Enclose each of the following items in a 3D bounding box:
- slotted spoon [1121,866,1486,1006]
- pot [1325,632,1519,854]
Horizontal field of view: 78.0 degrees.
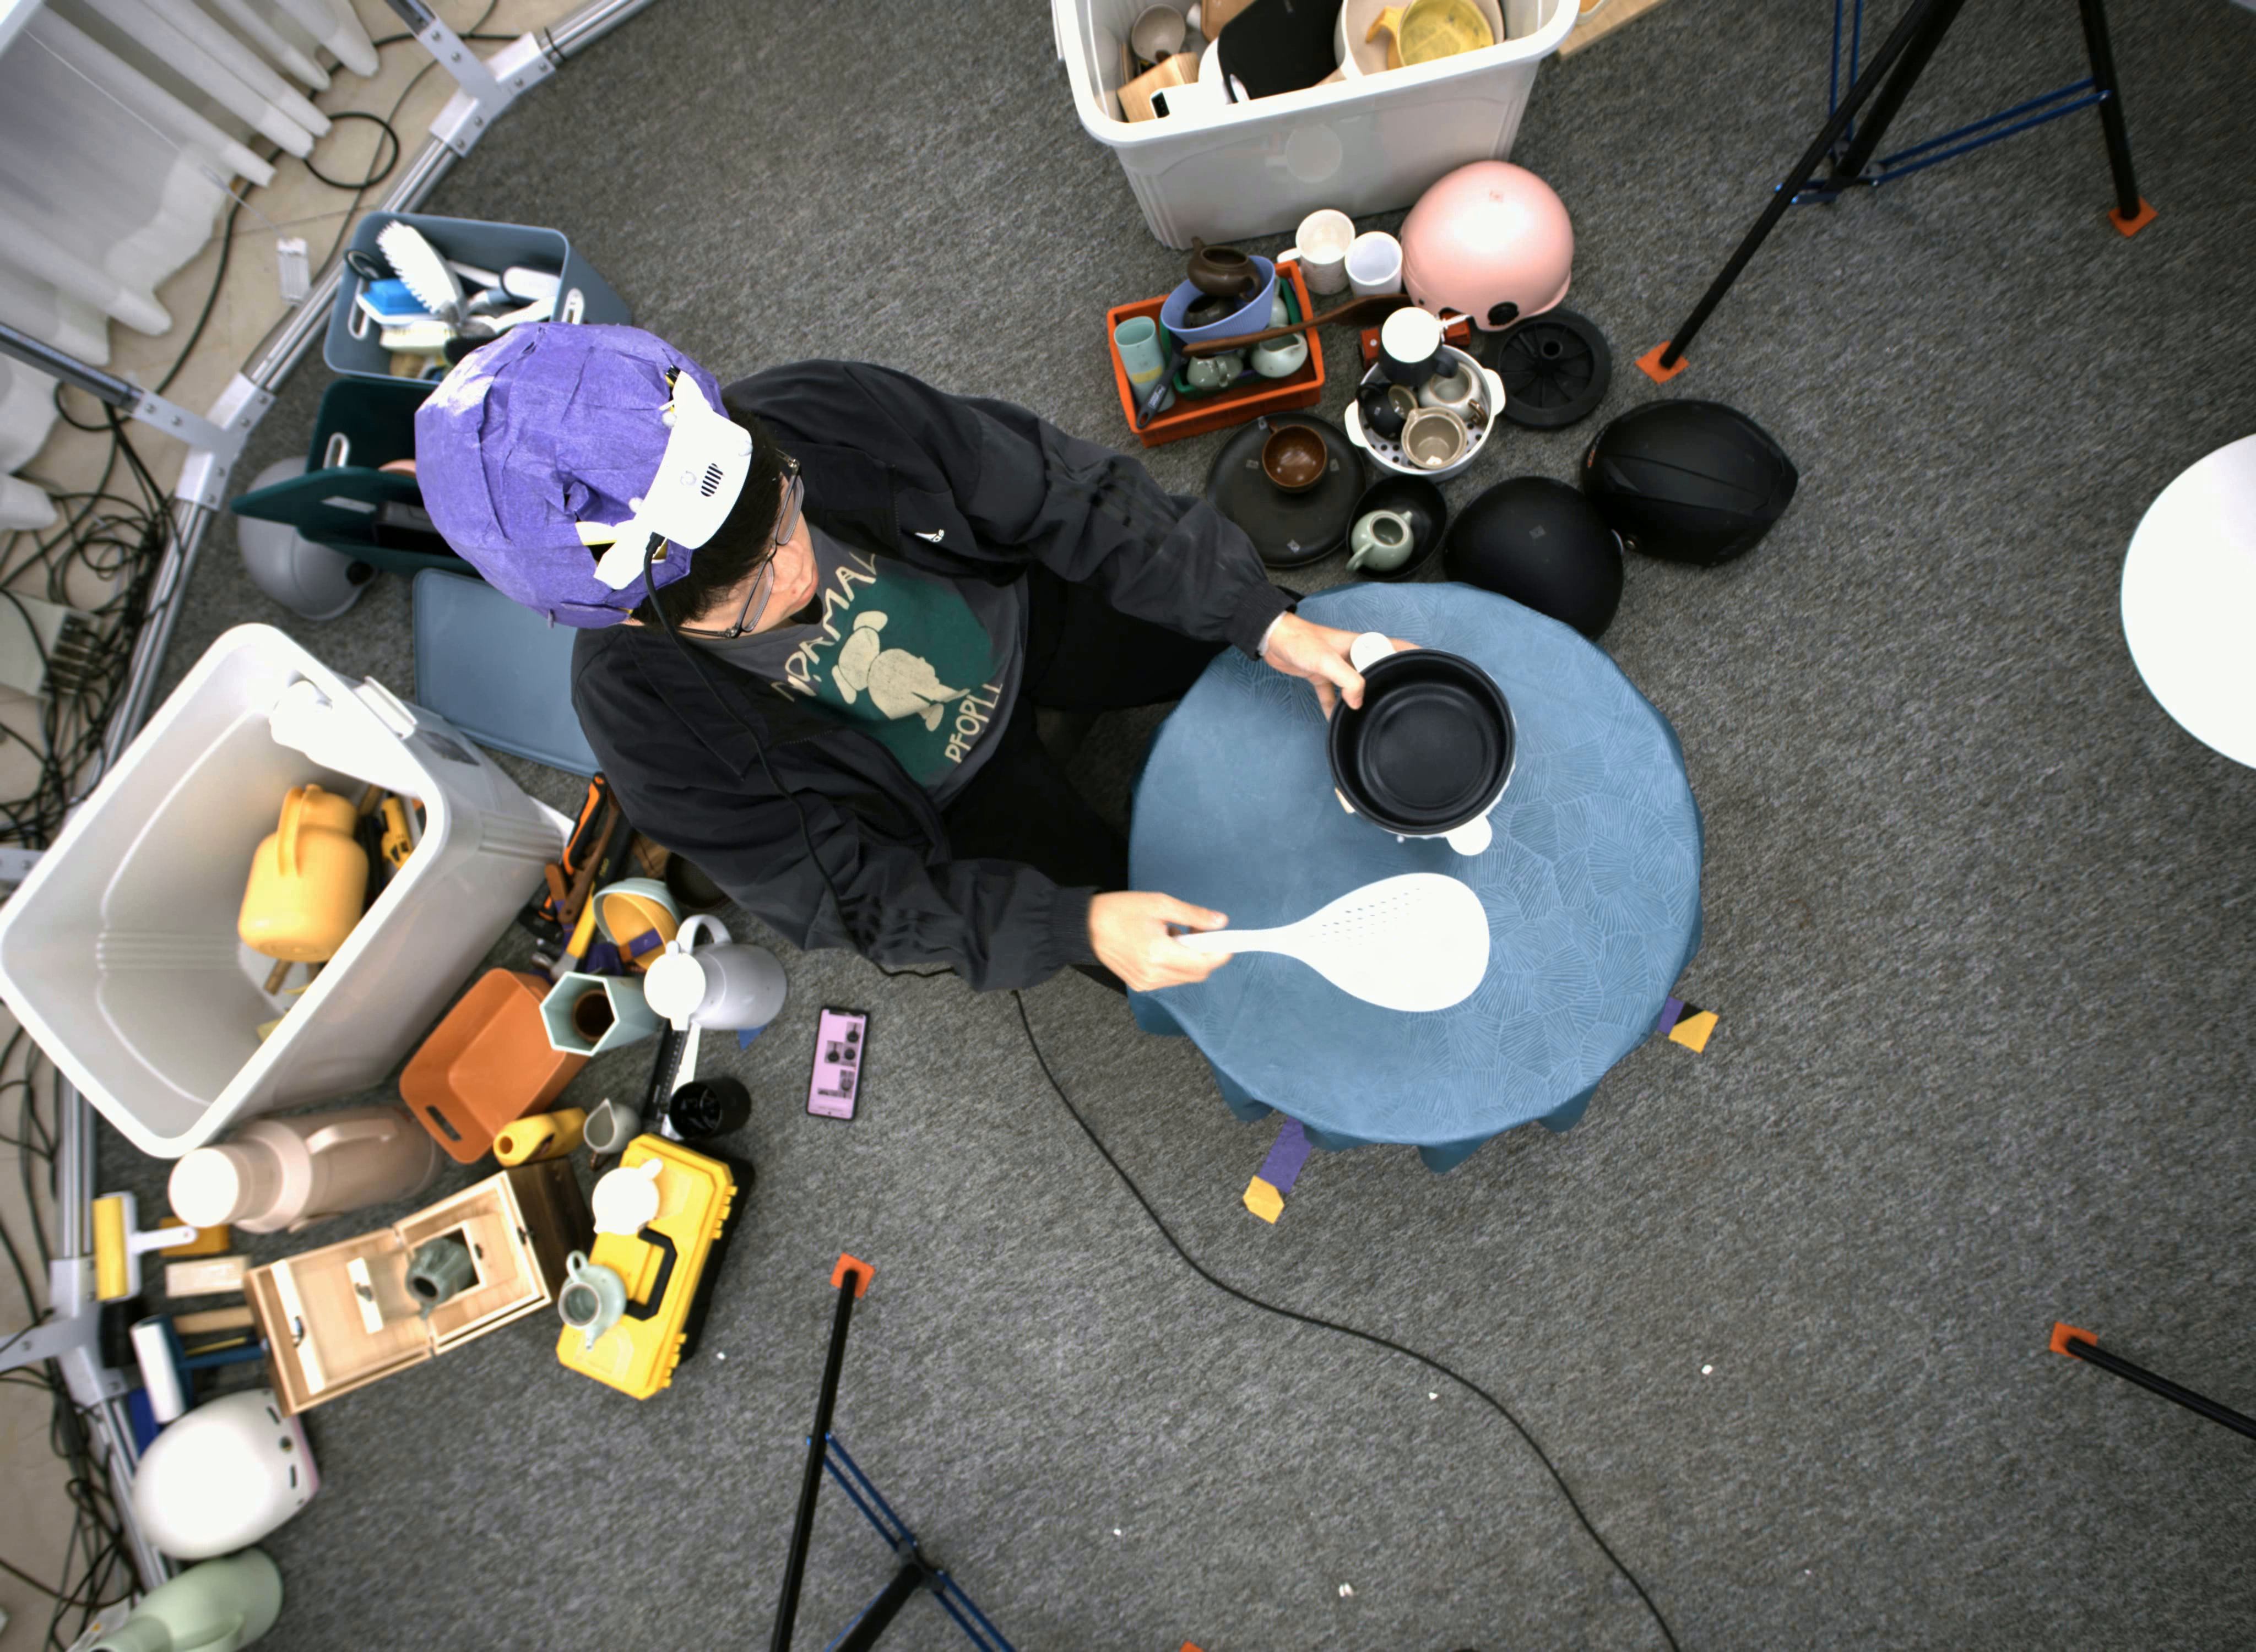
[{"bbox_3d":[0.157,0.110,1.296,0.350,0.051,0.134,-2,65,15],"label":"slotted spoon"},{"bbox_3d":[0.292,-0.075,1.379,0.192,0.142,0.238,-28,79,11],"label":"pot"}]
